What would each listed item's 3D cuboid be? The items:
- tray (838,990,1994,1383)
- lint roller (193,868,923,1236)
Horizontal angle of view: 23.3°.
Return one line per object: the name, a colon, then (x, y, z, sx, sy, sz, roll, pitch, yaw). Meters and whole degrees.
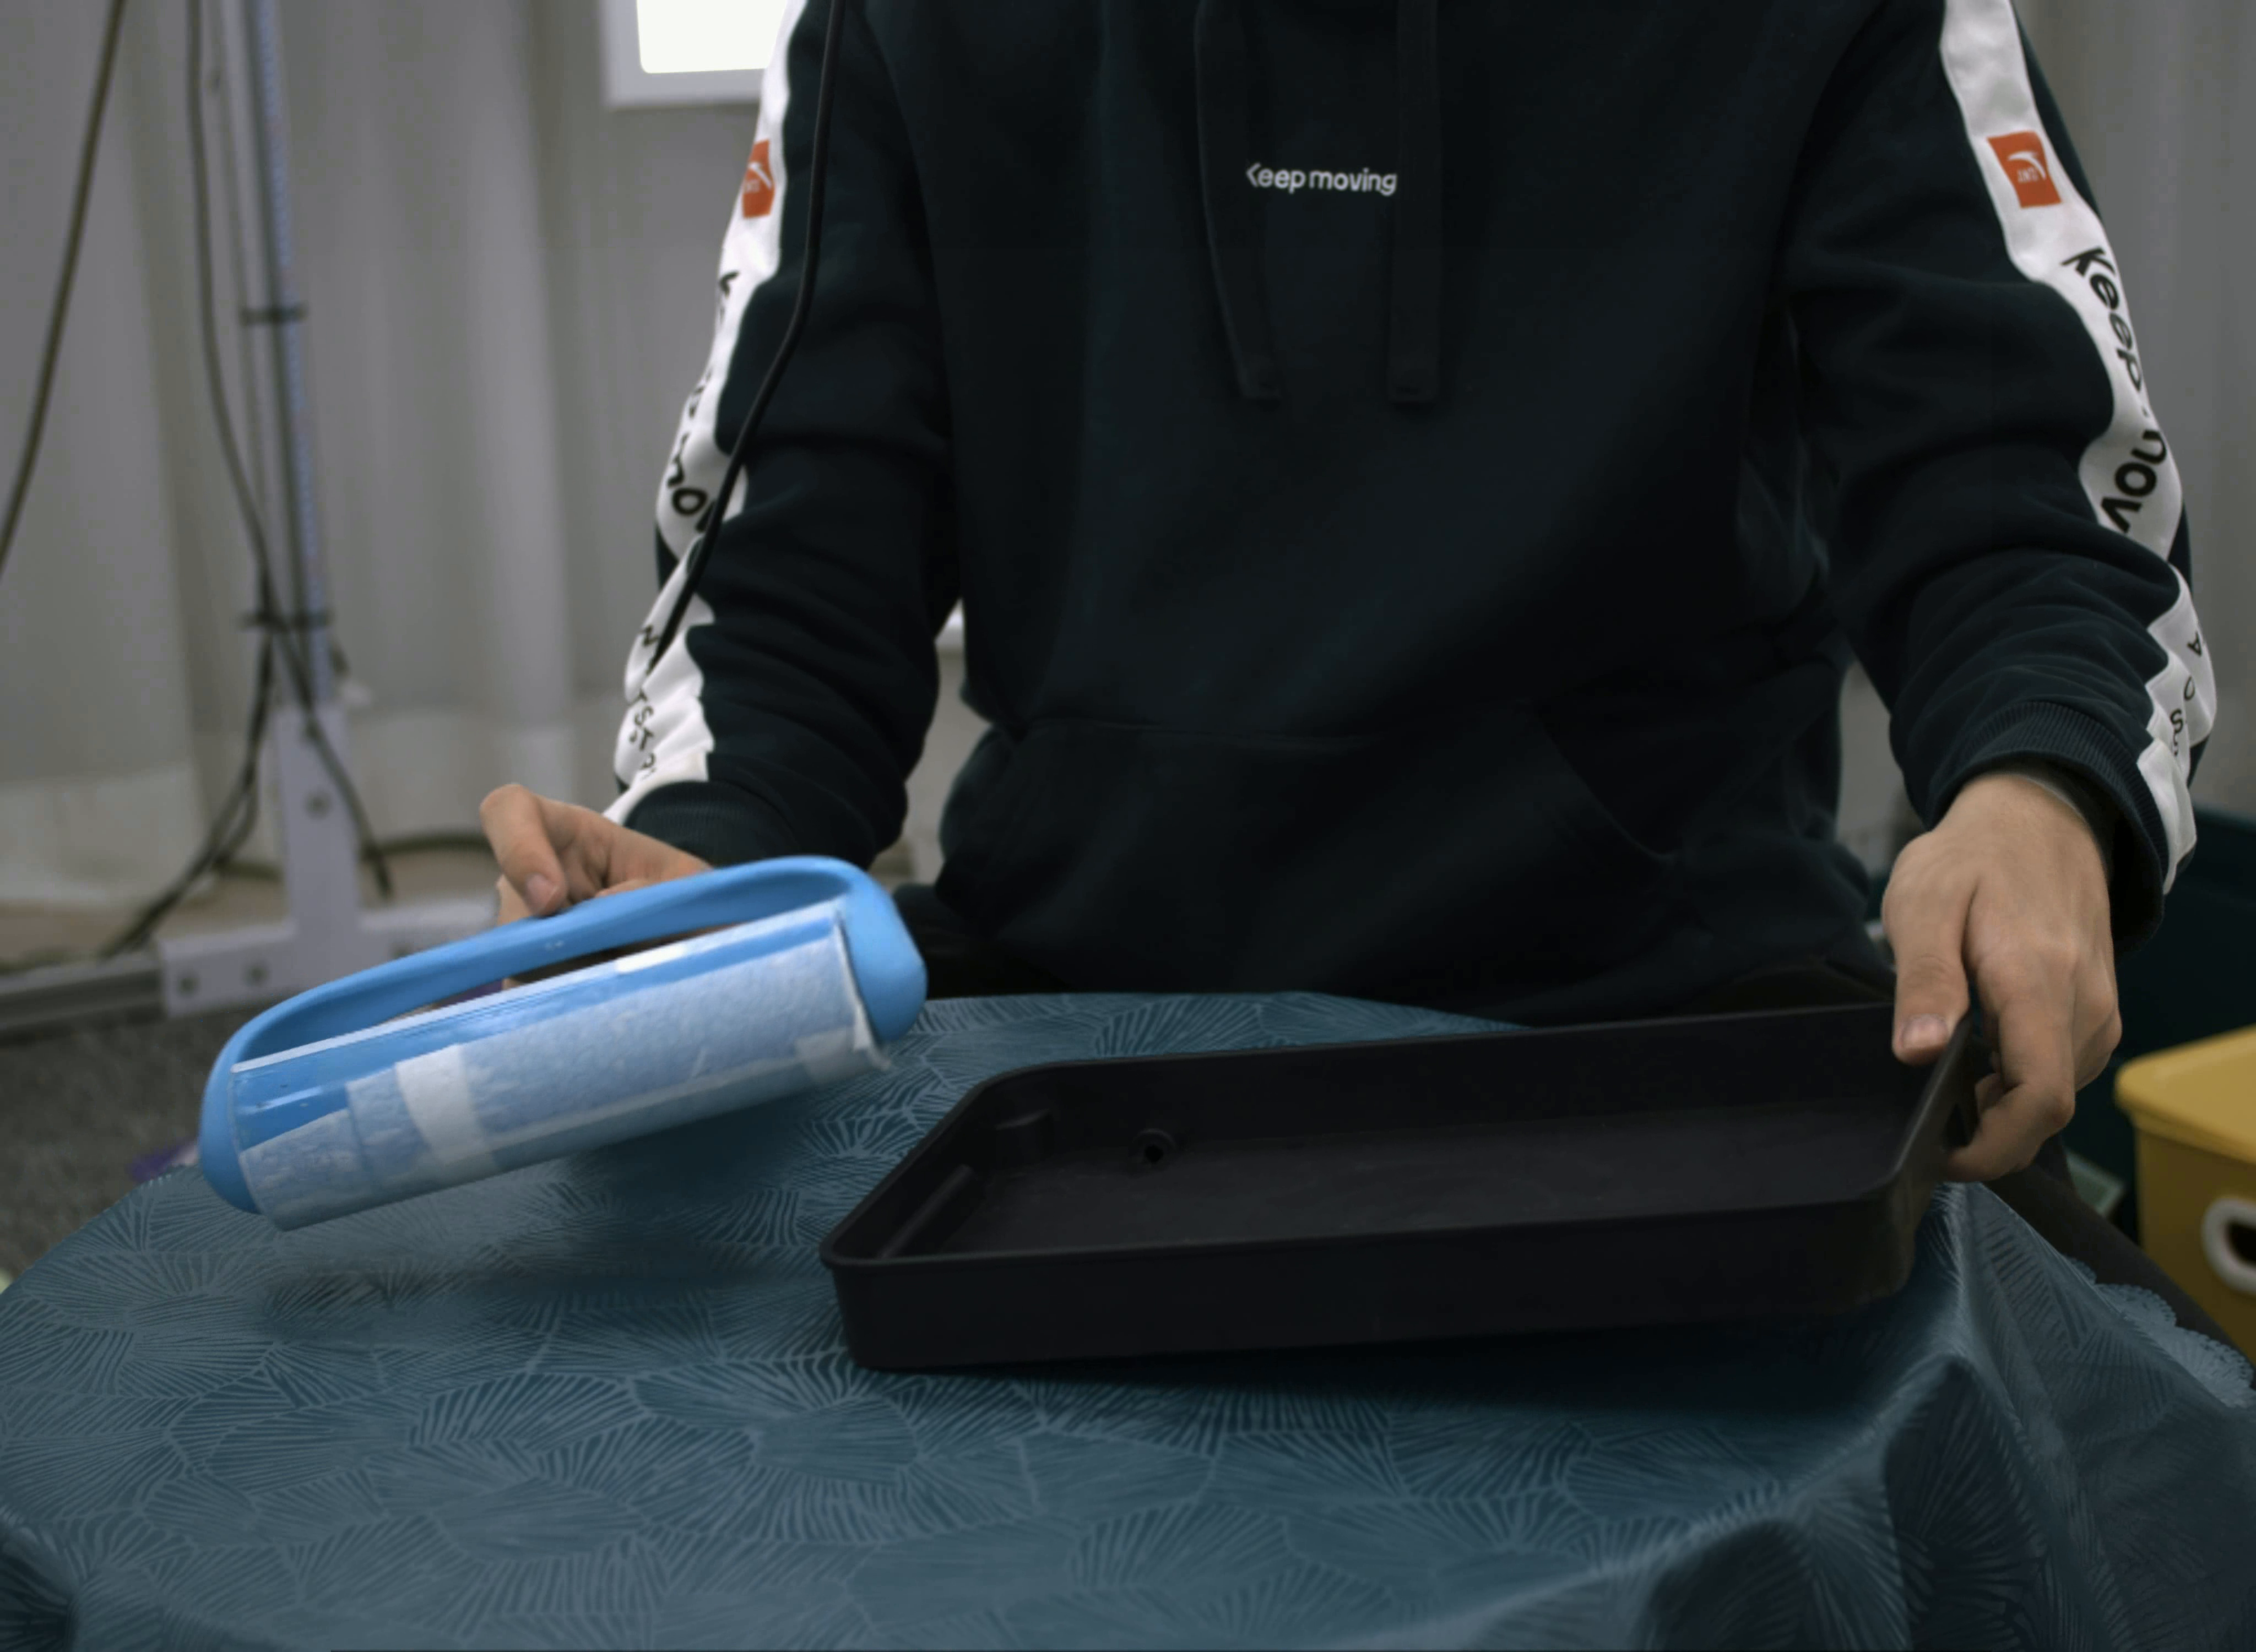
tray: (0.088, 0.104, 1.597, 0.317, 0.037, 0.185, -7, 13, 18)
lint roller: (-0.173, 0.058, 1.706, 0.228, 0.067, 0.181, -17, 14, 3)
